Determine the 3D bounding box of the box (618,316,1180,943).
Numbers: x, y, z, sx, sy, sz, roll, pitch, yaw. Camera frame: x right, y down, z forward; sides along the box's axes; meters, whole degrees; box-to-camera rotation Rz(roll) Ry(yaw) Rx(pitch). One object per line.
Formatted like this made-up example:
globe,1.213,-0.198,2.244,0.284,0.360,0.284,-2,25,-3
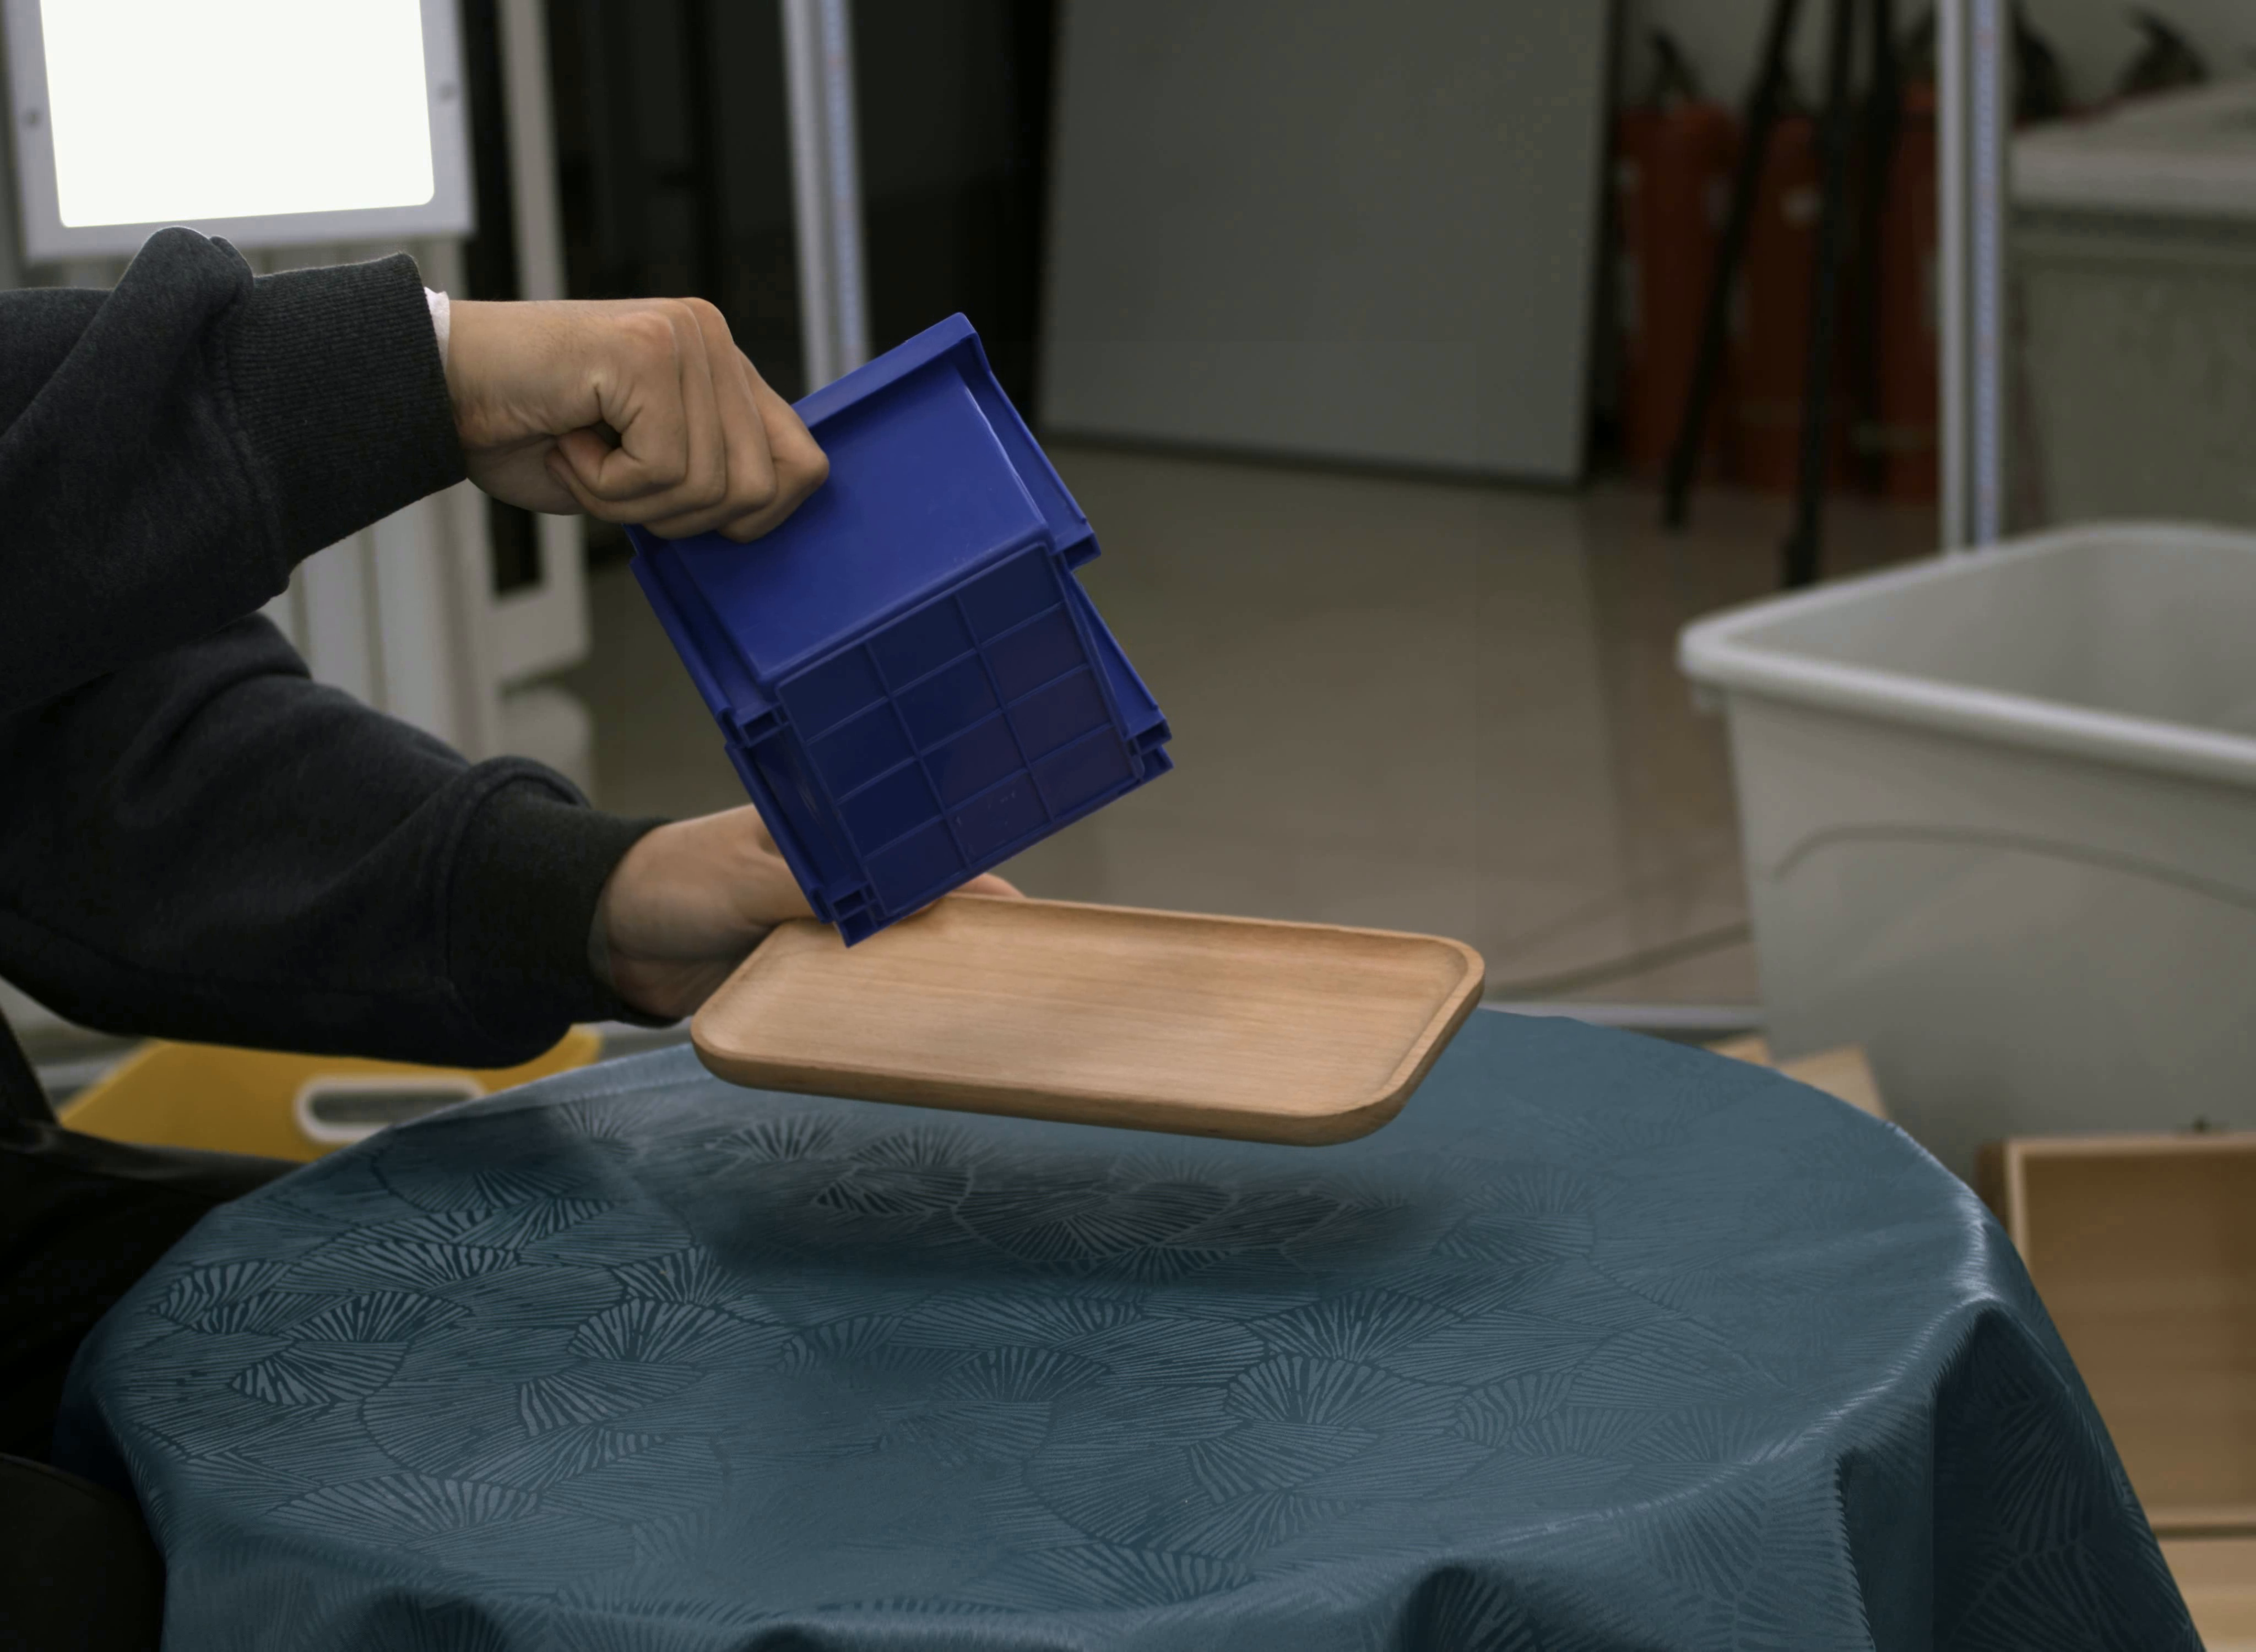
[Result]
box,-0.065,-0.049,1.653,0.123,0.178,0.083,-30,59,-2

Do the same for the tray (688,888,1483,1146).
tray,-0.014,0.060,1.745,0.251,0.023,0.129,4,24,25
